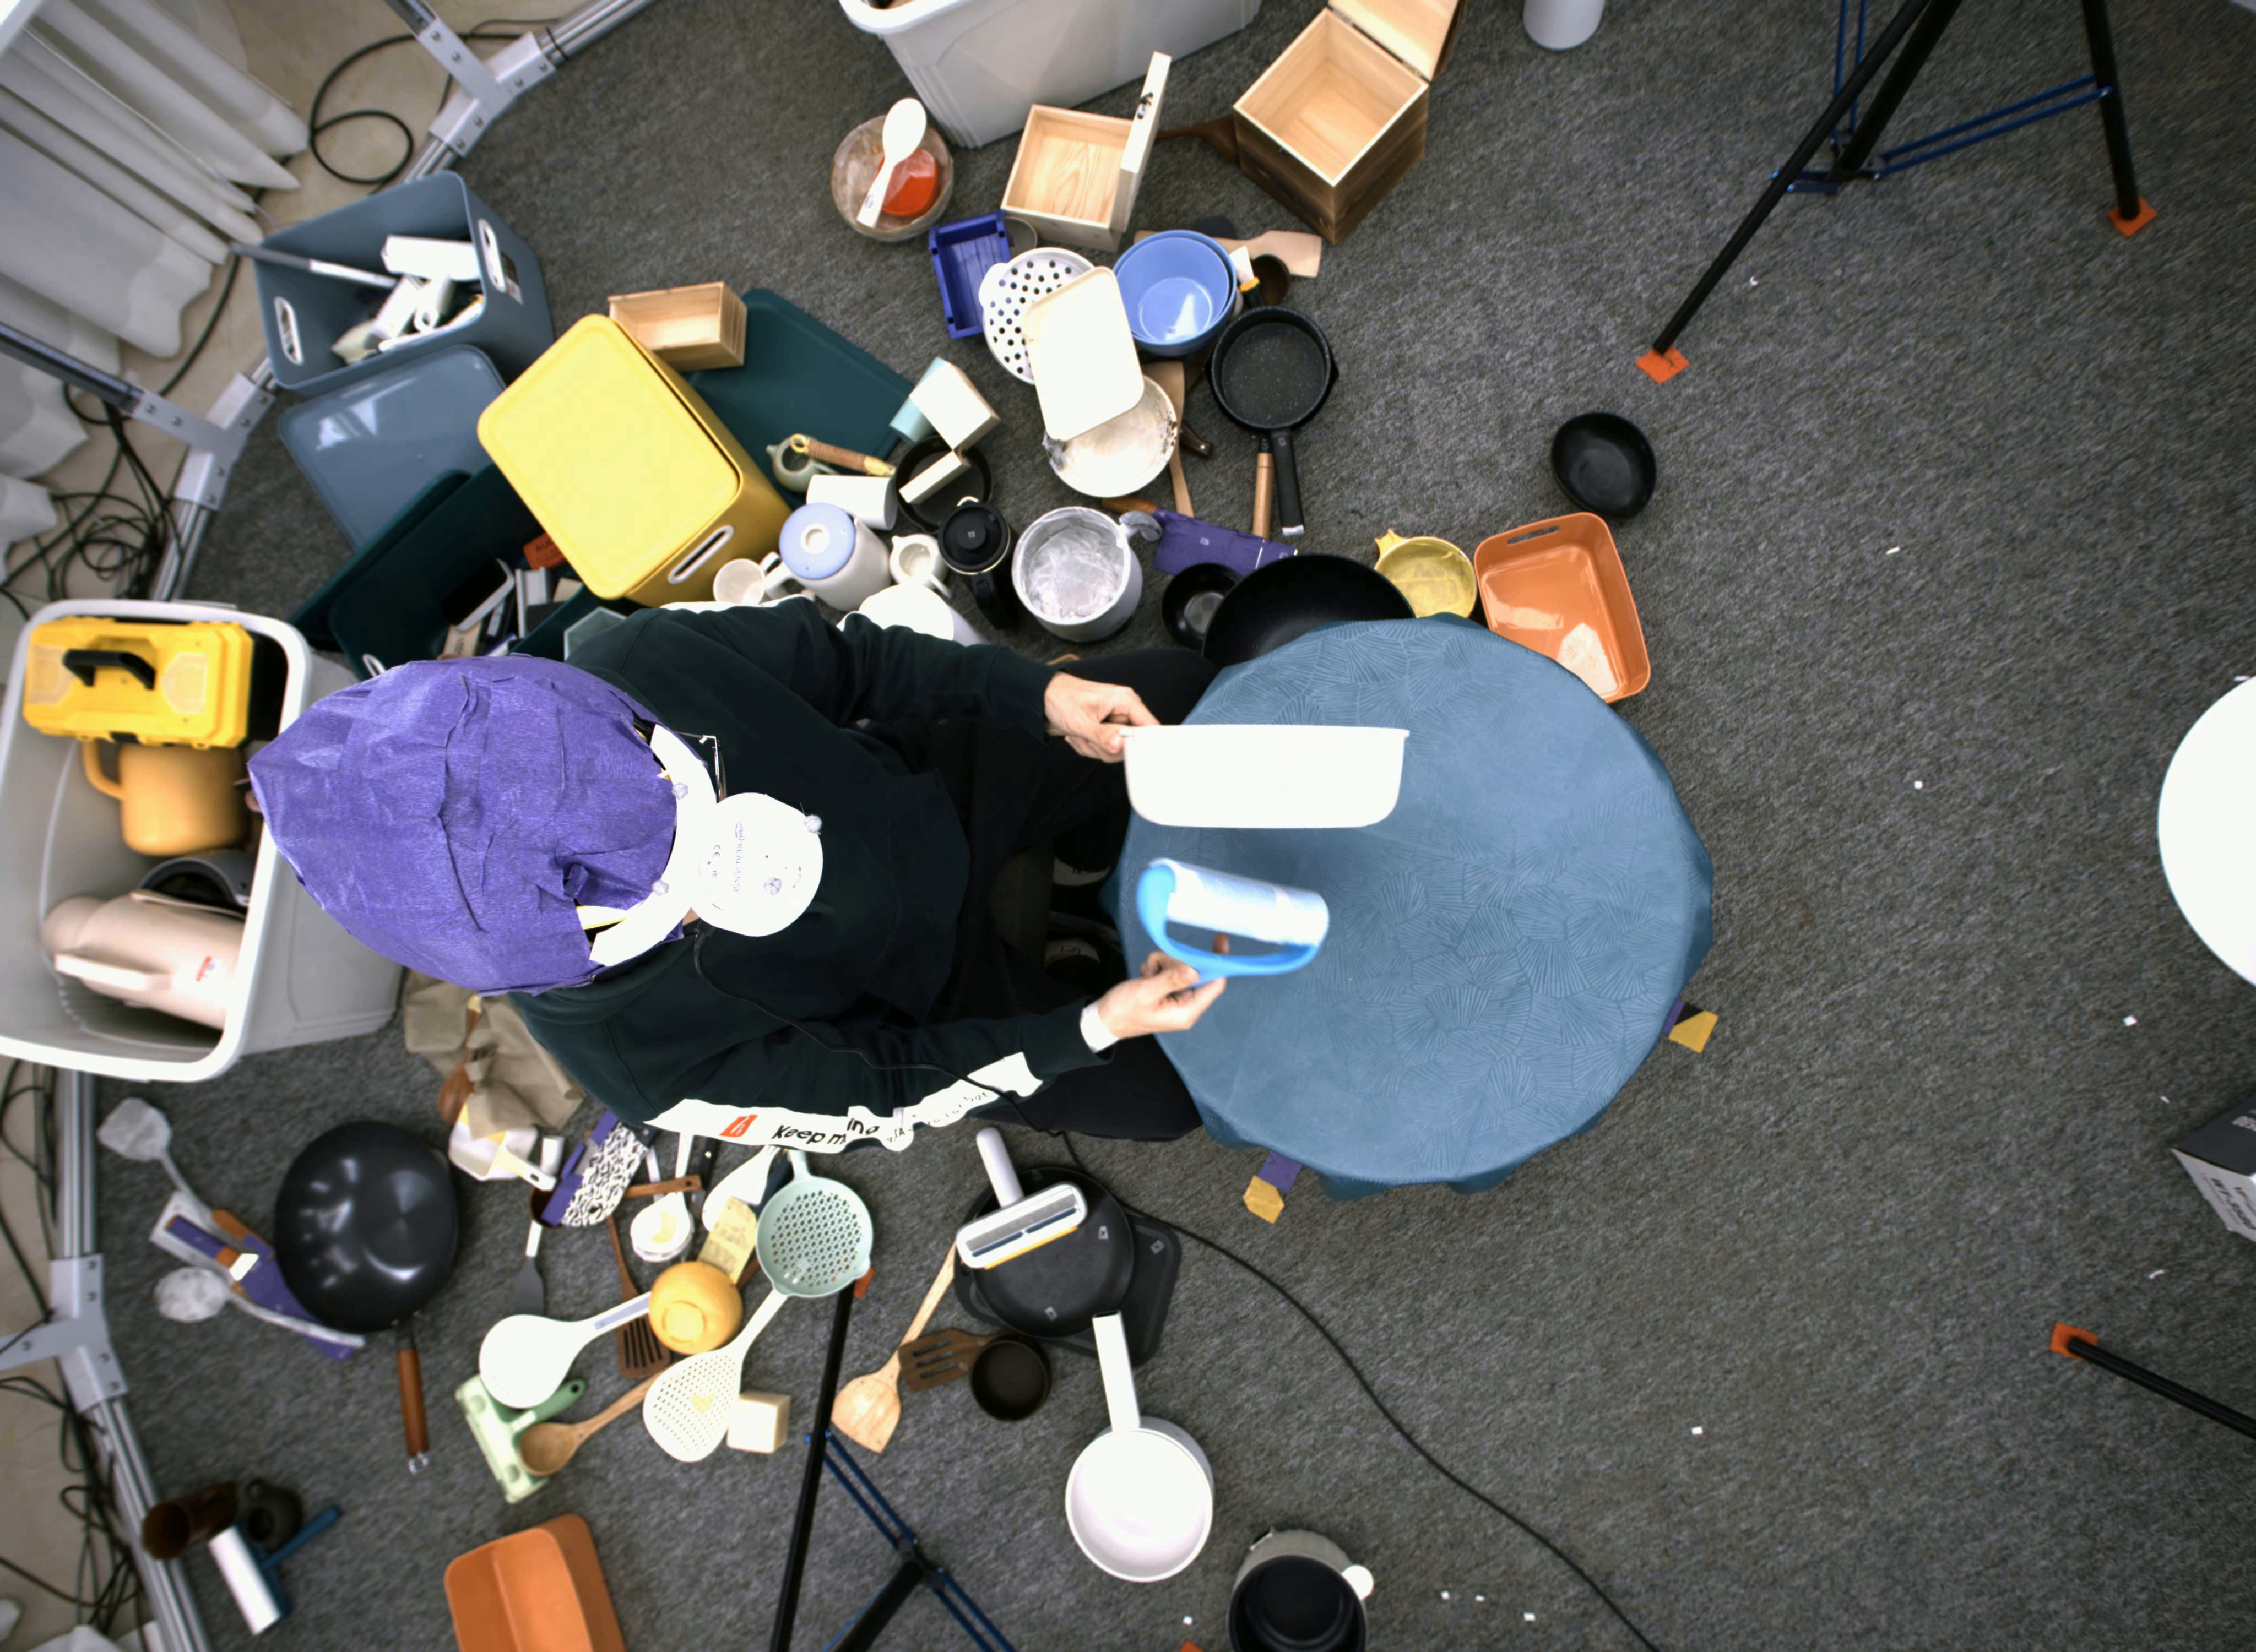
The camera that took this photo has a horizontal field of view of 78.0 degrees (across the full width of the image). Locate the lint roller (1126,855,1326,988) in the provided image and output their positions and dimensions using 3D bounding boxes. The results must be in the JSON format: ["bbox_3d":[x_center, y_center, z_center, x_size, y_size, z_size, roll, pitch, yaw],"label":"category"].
[{"bbox_3d":[0.065,0.108,1.281,0.184,0.228,0.066,-52,47,32],"label":"lint roller"}]

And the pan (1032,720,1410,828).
[{"bbox_3d":[0.056,-0.053,1.264,0.437,0.261,0.102,3,94,49],"label":"pan"}]
